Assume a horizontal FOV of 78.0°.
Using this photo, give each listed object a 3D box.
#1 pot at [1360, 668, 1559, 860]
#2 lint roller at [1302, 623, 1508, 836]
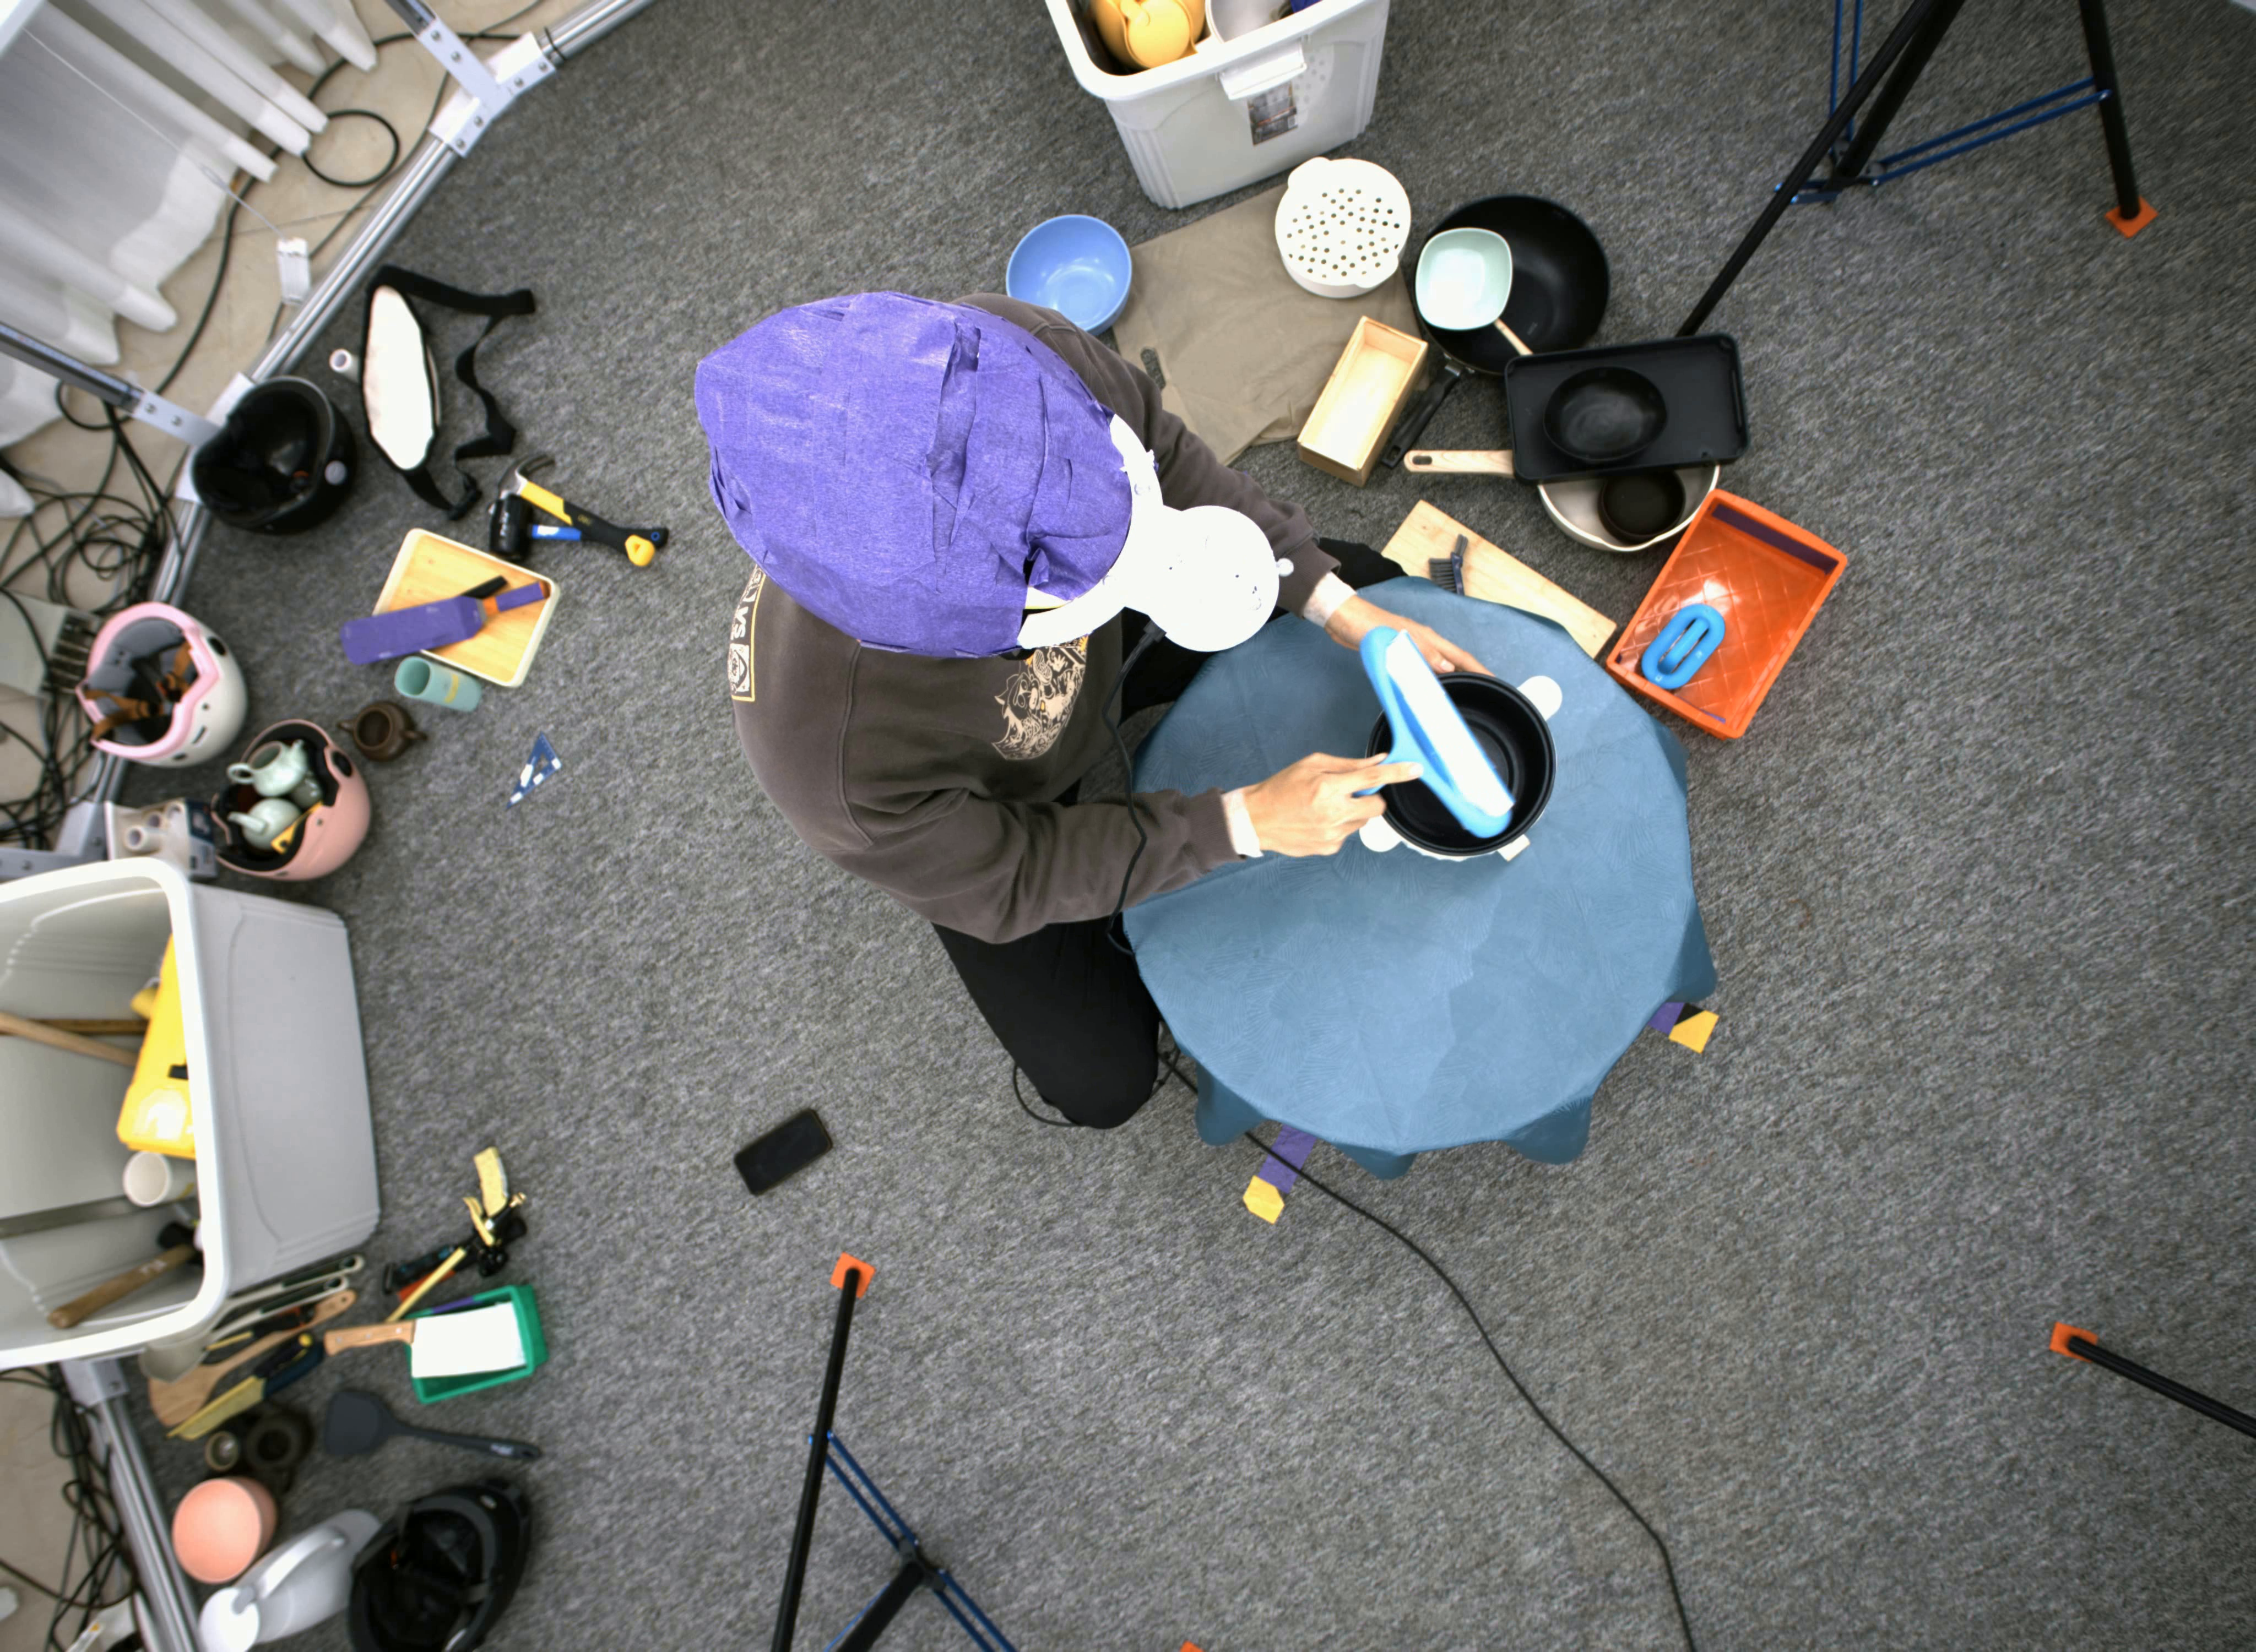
[{"bbox_3d":[0.334,-0.054,1.381,0.242,0.143,0.189,-42,77,7],"label":"pot"},{"bbox_3d":[0.243,-0.059,1.277,0.178,0.068,0.230,-38,99,-19],"label":"lint roller"}]
